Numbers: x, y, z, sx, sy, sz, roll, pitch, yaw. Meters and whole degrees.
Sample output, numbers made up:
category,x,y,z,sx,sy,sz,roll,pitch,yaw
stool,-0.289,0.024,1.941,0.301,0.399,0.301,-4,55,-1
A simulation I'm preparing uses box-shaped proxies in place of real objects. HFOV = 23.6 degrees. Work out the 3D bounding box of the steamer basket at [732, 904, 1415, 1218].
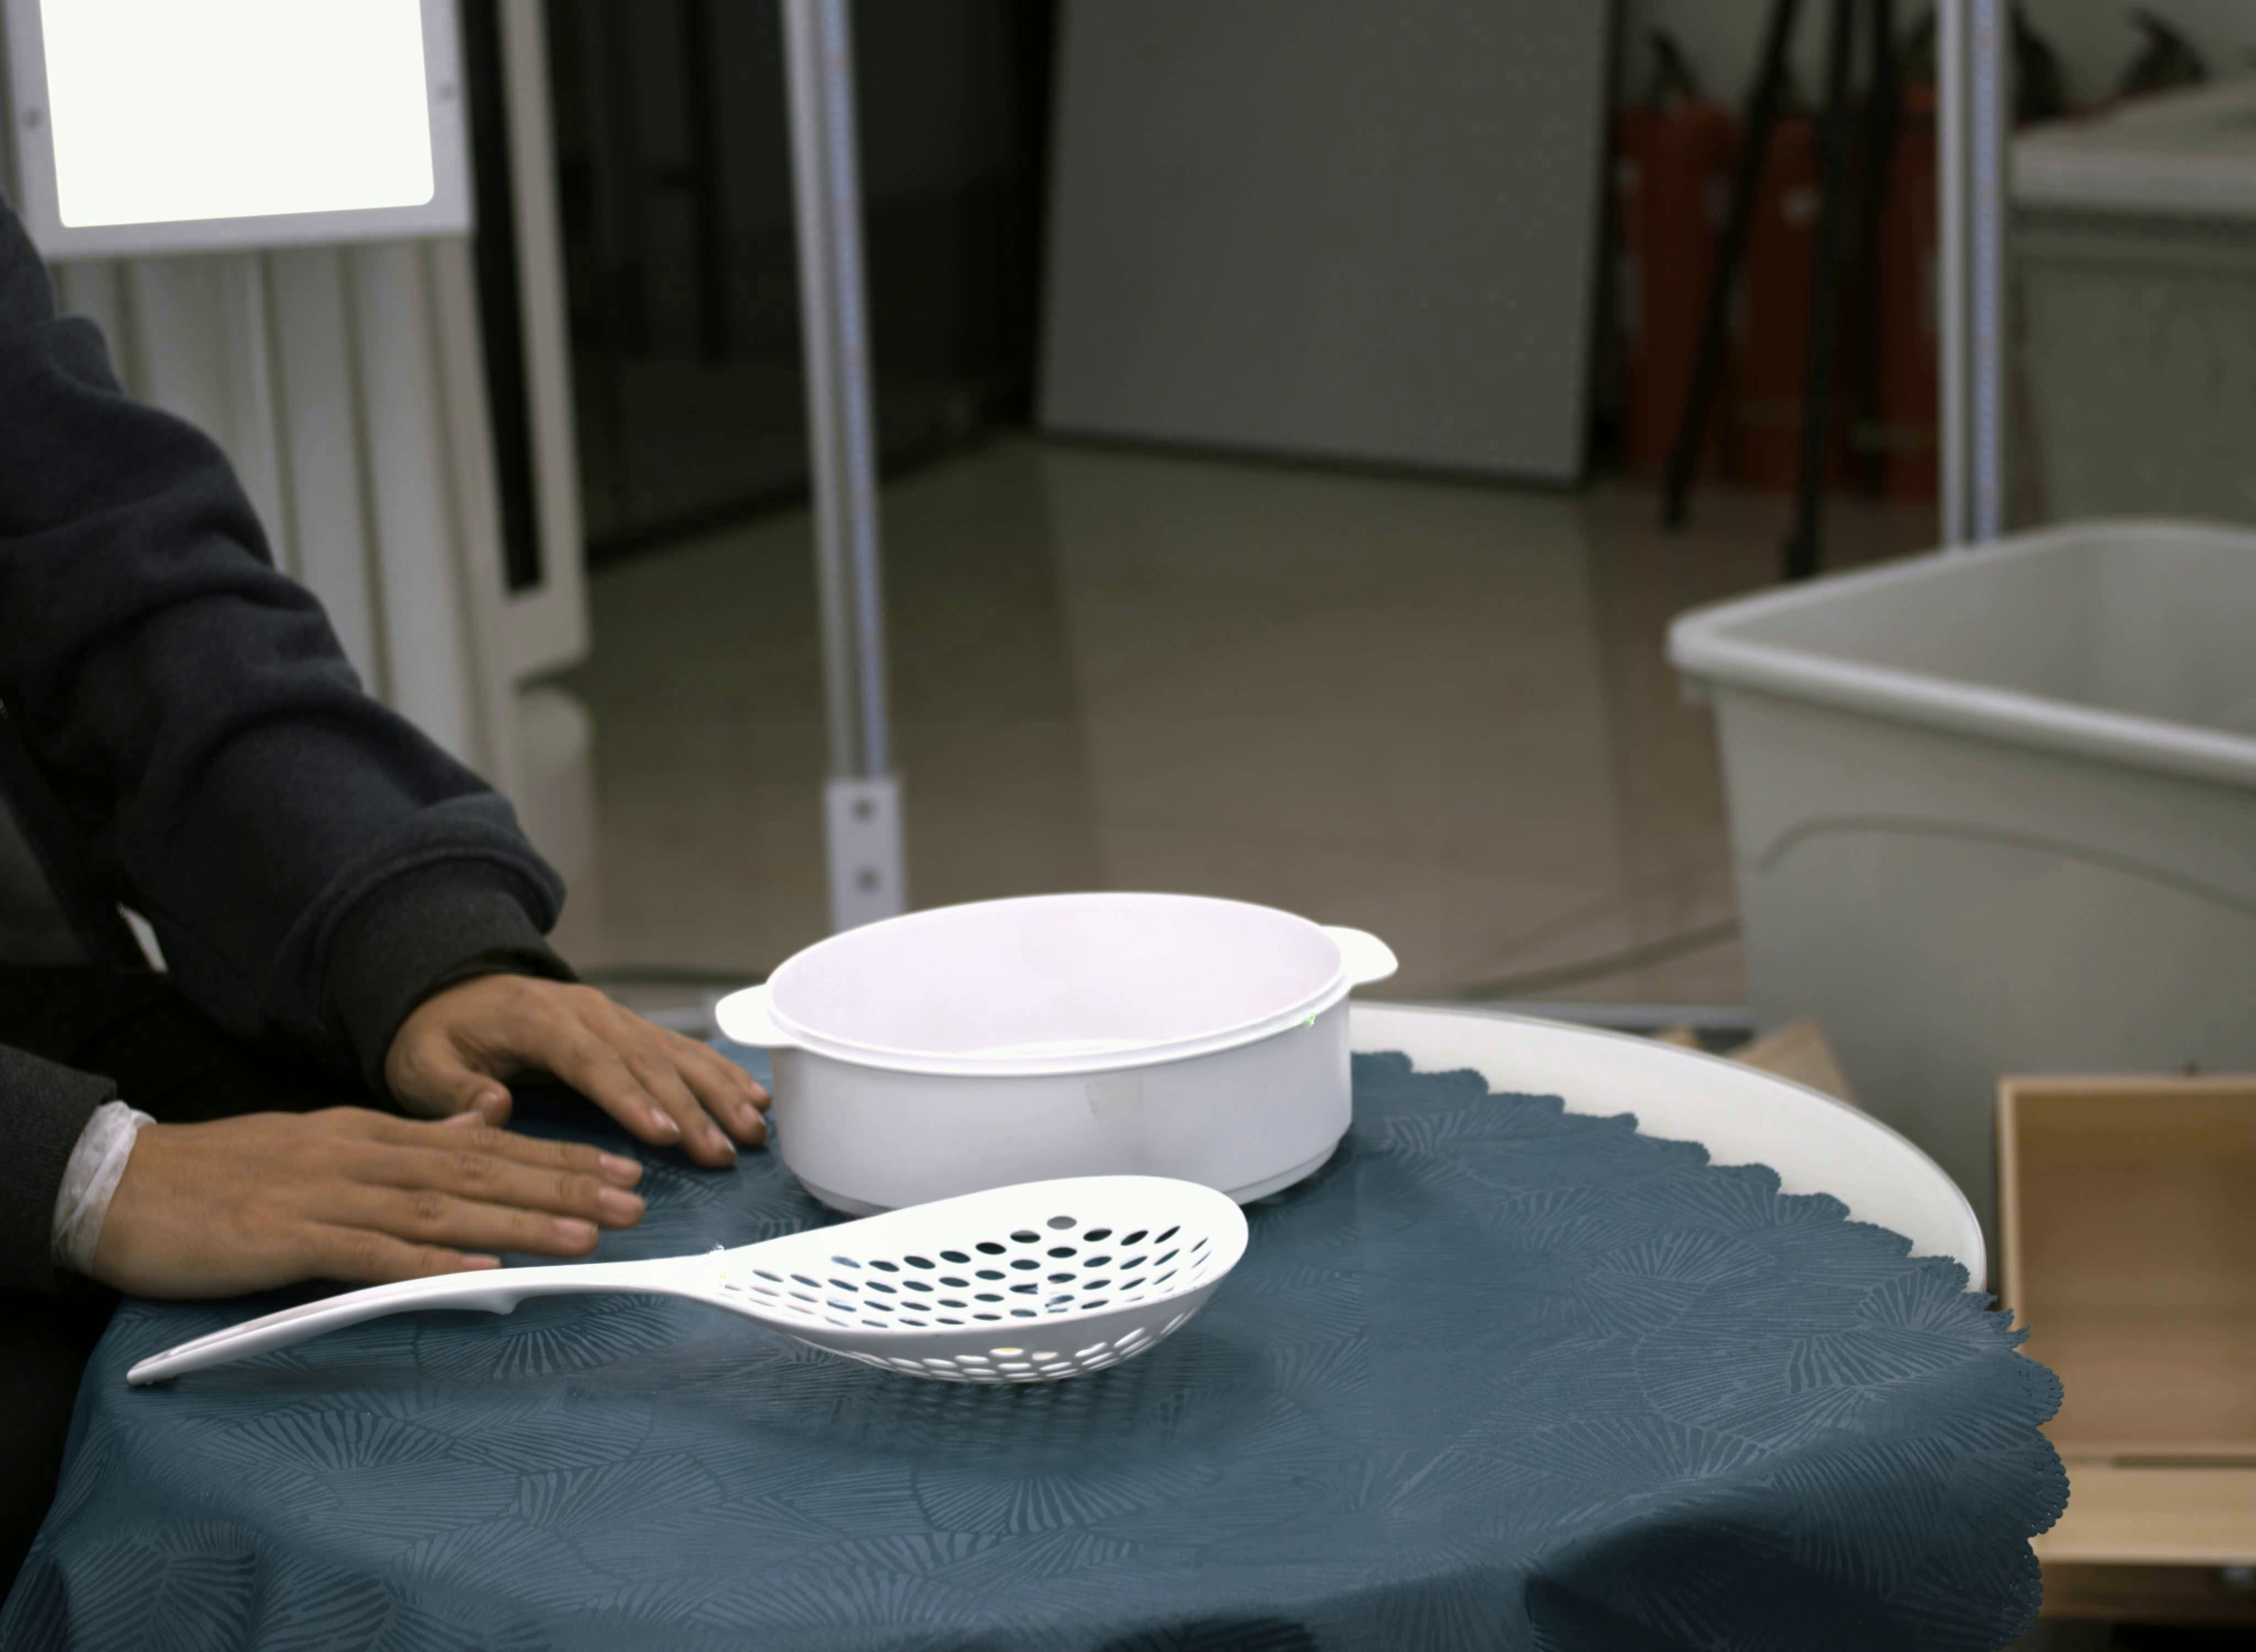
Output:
category,x,y,z,sx,sy,sz,roll,pitch,yaw
steamer basket,-0.017,0.081,1.798,0.226,0.070,0.203,-4,13,-9

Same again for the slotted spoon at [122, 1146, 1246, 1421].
category,x,y,z,sx,sy,sz,roll,pitch,yaw
slotted spoon,-0.134,0.146,1.621,0.345,0.051,0.136,-3,17,8
